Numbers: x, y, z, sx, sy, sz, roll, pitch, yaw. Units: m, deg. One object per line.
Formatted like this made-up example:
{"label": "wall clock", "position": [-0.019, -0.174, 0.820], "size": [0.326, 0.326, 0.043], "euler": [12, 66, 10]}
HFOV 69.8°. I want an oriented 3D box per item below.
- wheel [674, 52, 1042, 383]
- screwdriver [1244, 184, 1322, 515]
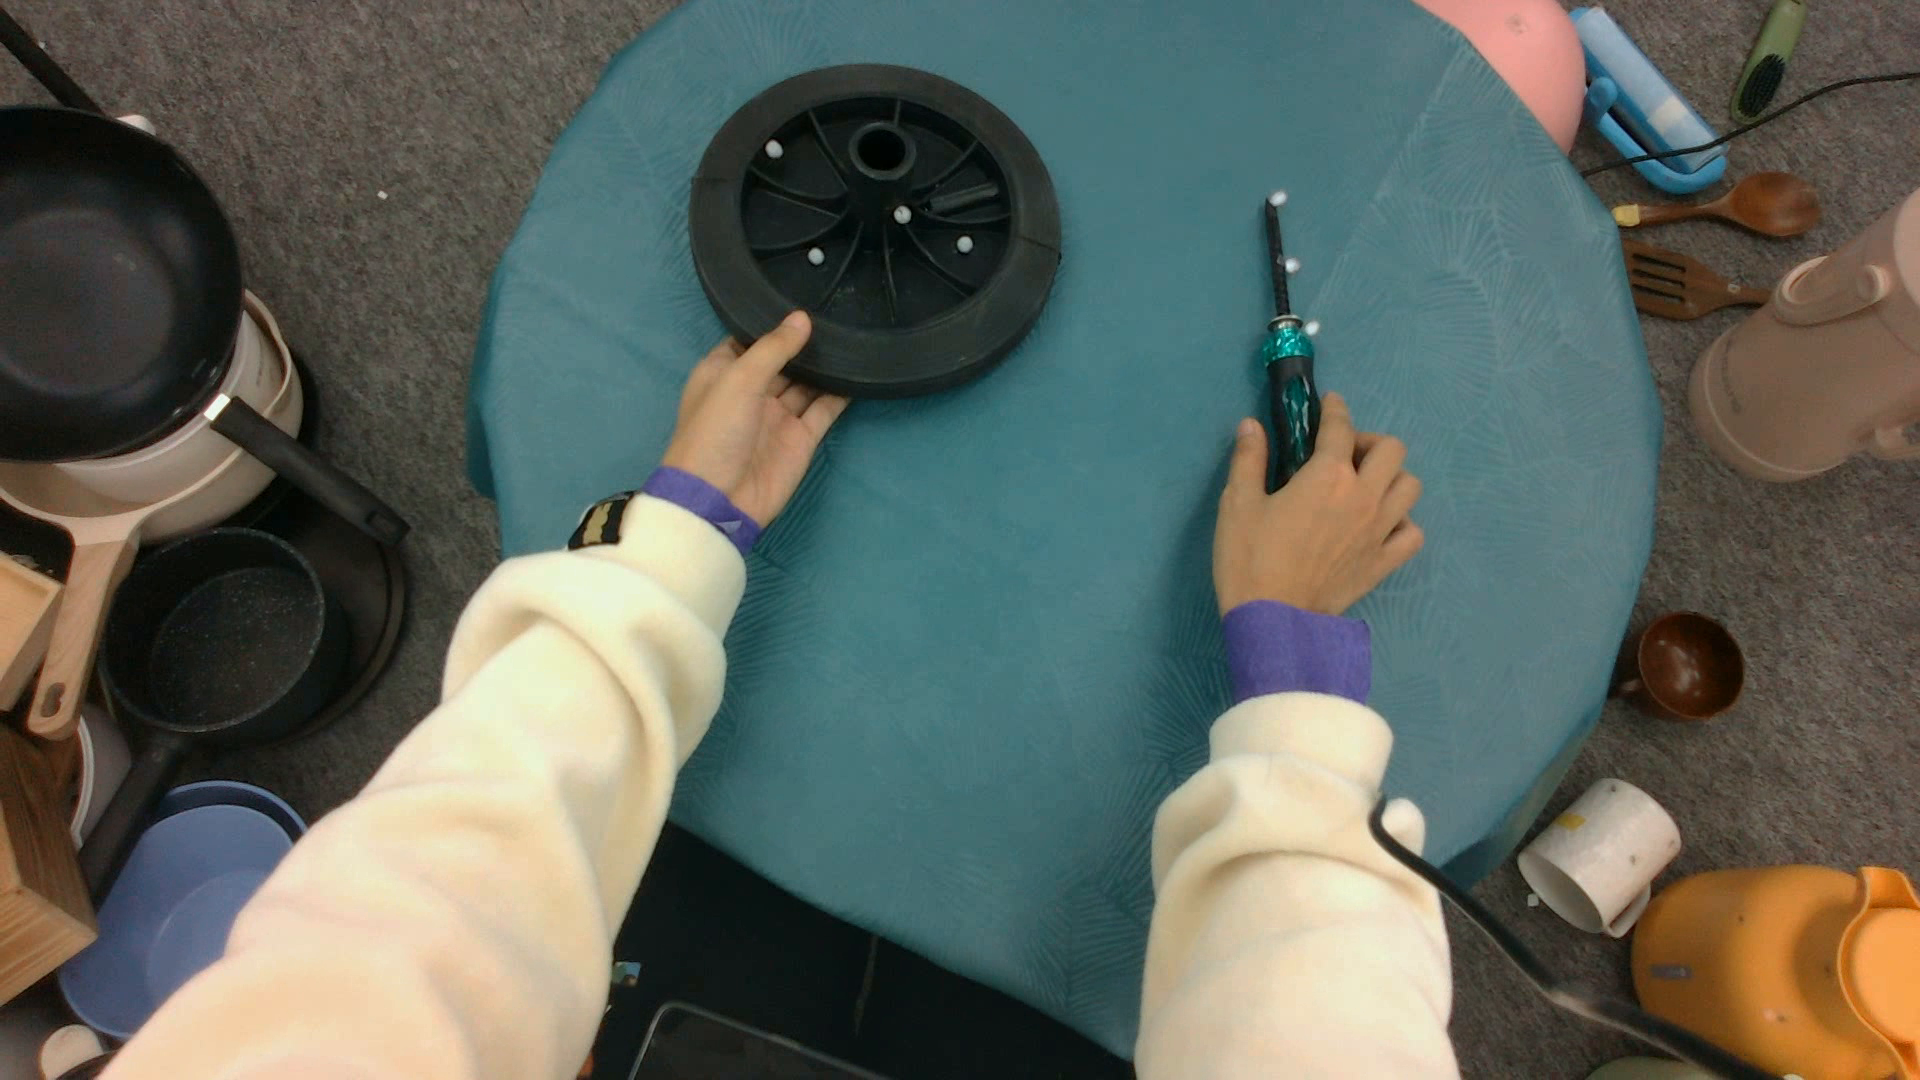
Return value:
{"label": "wheel", "position": [-0.047, -0.175, 0.683], "size": [0.187, 0.079, 0.190], "euler": [44, 69, 9]}
{"label": "screwdriver", "position": [0.160, -0.103, 0.704], "size": [0.034, 0.033, 0.190], "euler": [0, 67, -4]}
